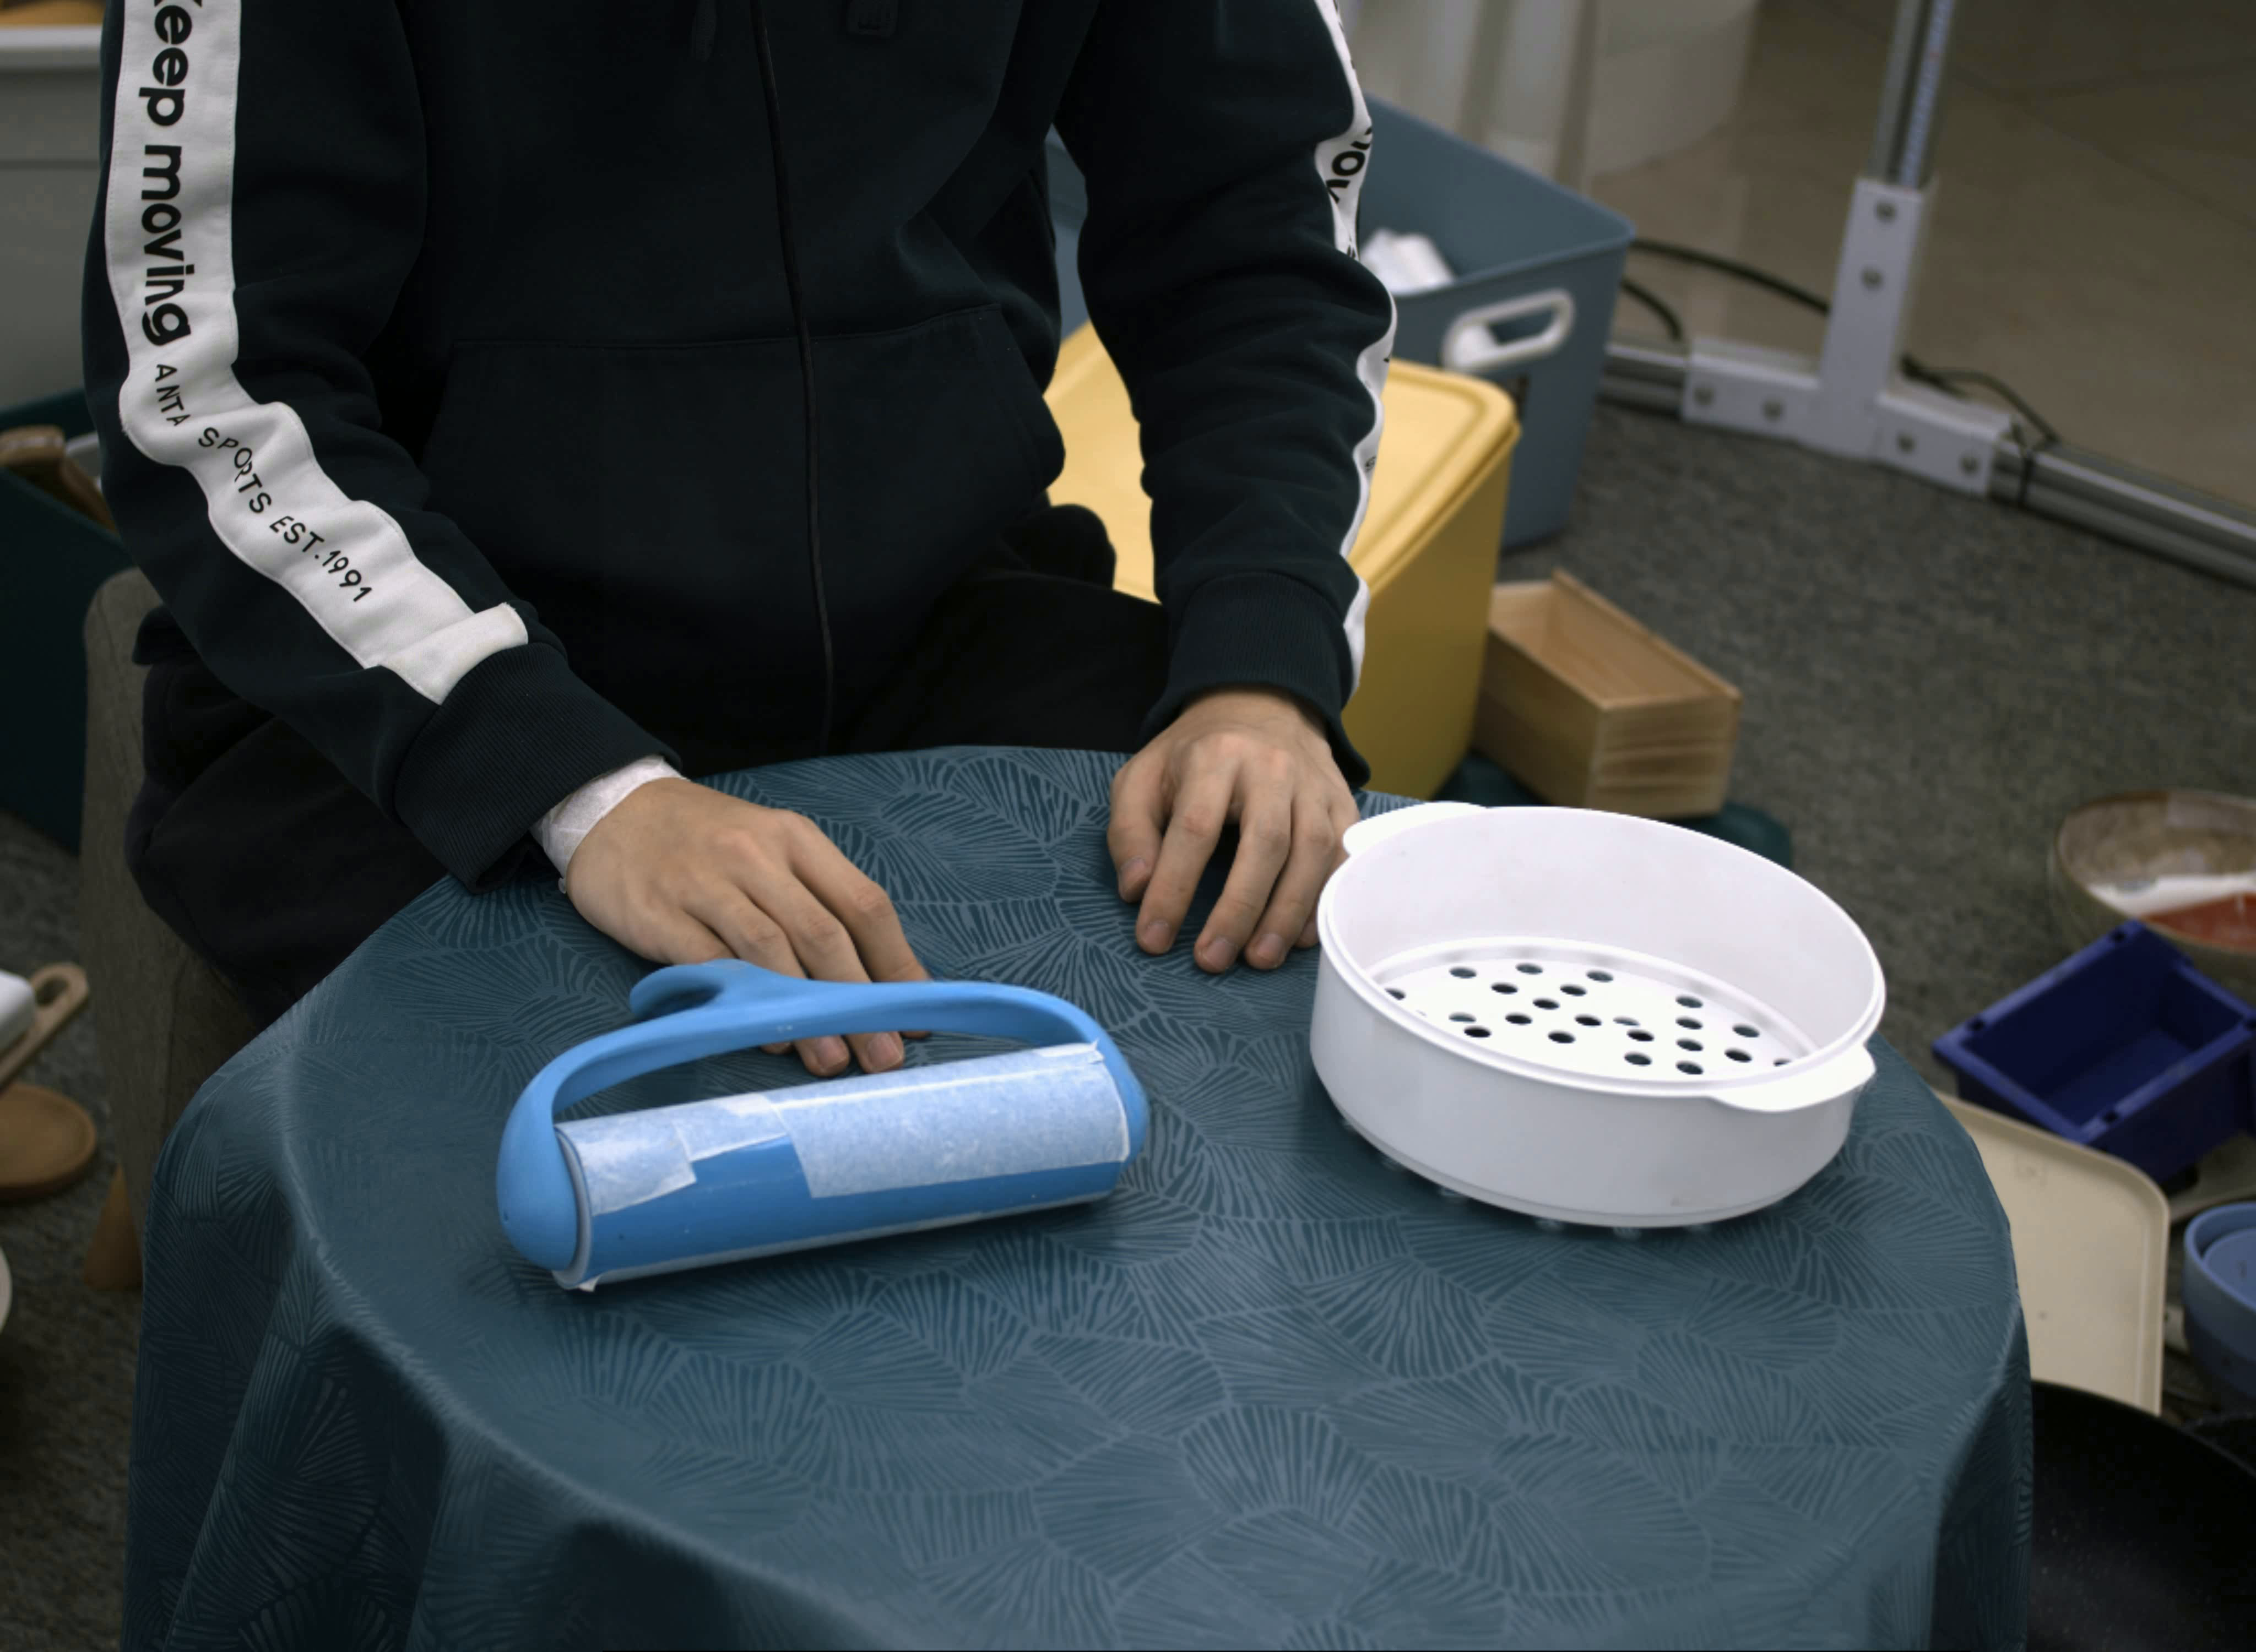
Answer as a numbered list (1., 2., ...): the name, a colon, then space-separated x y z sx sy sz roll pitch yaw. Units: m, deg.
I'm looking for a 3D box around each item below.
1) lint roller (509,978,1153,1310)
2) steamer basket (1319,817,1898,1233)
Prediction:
1. lint roller: -0.124 0.086 1.785 0.227 0.067 0.182 -12 33 -28
2. steamer basket: 0.165 0.070 1.865 0.200 0.069 0.232 -14 32 -36
